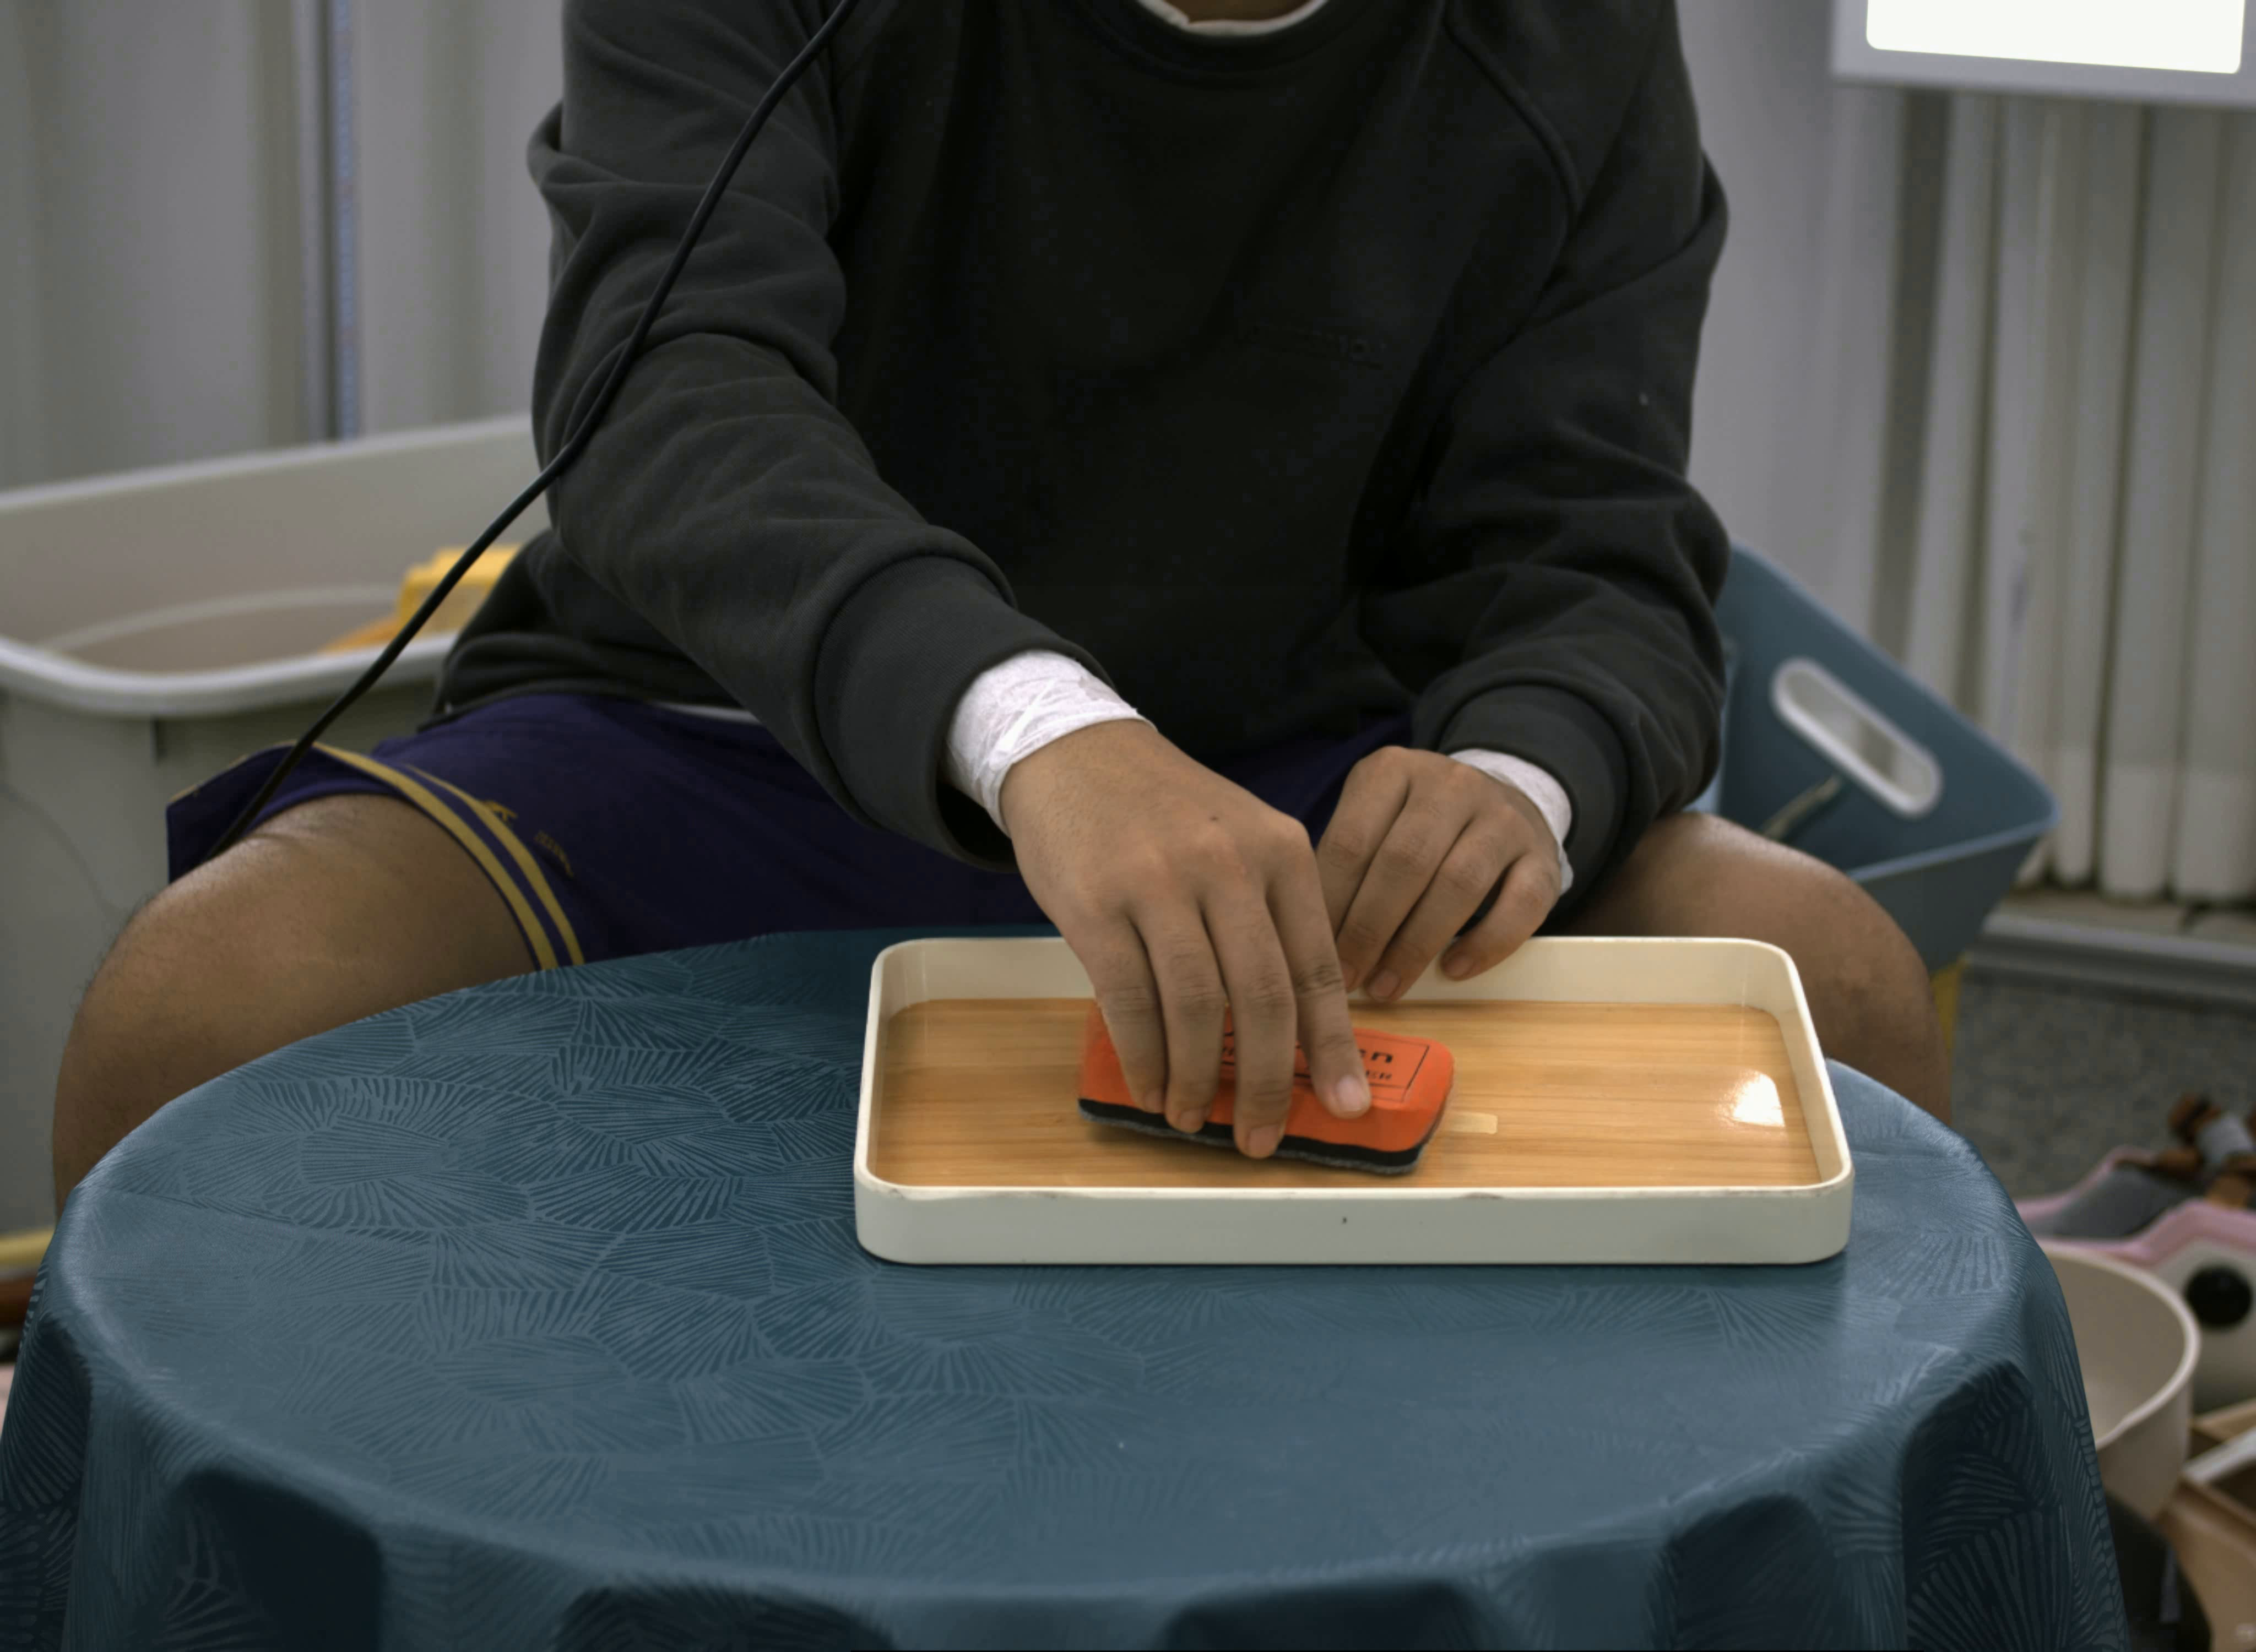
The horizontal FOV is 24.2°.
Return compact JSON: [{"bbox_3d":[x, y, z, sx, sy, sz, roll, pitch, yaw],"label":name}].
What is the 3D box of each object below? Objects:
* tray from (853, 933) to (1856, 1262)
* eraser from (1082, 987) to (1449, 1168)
[{"bbox_3d":[0.067,0.083,1.640,0.299,0.027,0.190,1,22,-1],"label":"tray"},{"bbox_3d":[0.043,0.077,1.632,0.107,0.023,0.059,9,24,11],"label":"eraser"}]
